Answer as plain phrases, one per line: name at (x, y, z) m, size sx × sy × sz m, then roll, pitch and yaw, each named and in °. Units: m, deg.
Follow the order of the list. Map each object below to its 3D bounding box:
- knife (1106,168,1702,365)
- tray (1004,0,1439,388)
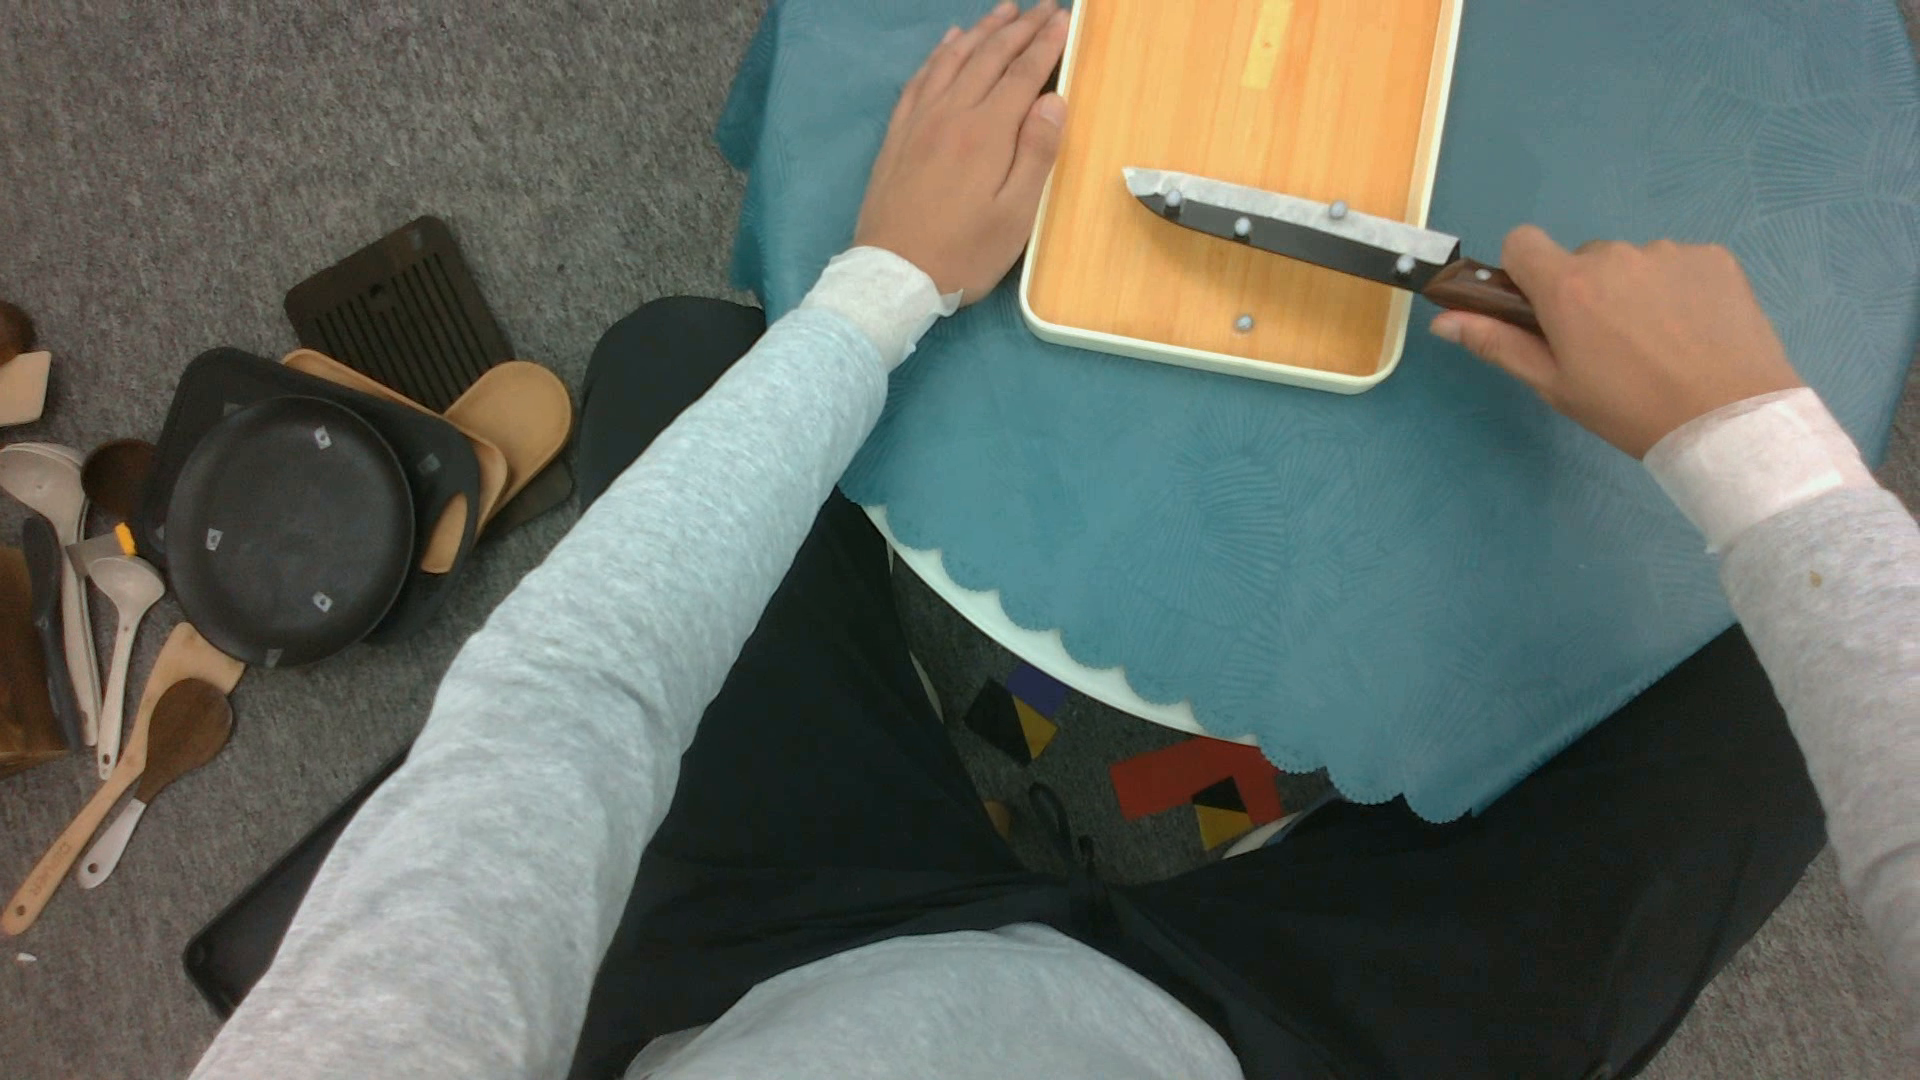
knife at (0.198, -0.136, 0.651) m, size 0.289 × 0.020 × 0.050 m, roll 22°, pitch 52°, yaw 21°
tray at (0.140, -0.237, 0.709) m, size 0.191 × 0.027 × 0.300 m, roll 11°, pitch 83°, yaw 4°
